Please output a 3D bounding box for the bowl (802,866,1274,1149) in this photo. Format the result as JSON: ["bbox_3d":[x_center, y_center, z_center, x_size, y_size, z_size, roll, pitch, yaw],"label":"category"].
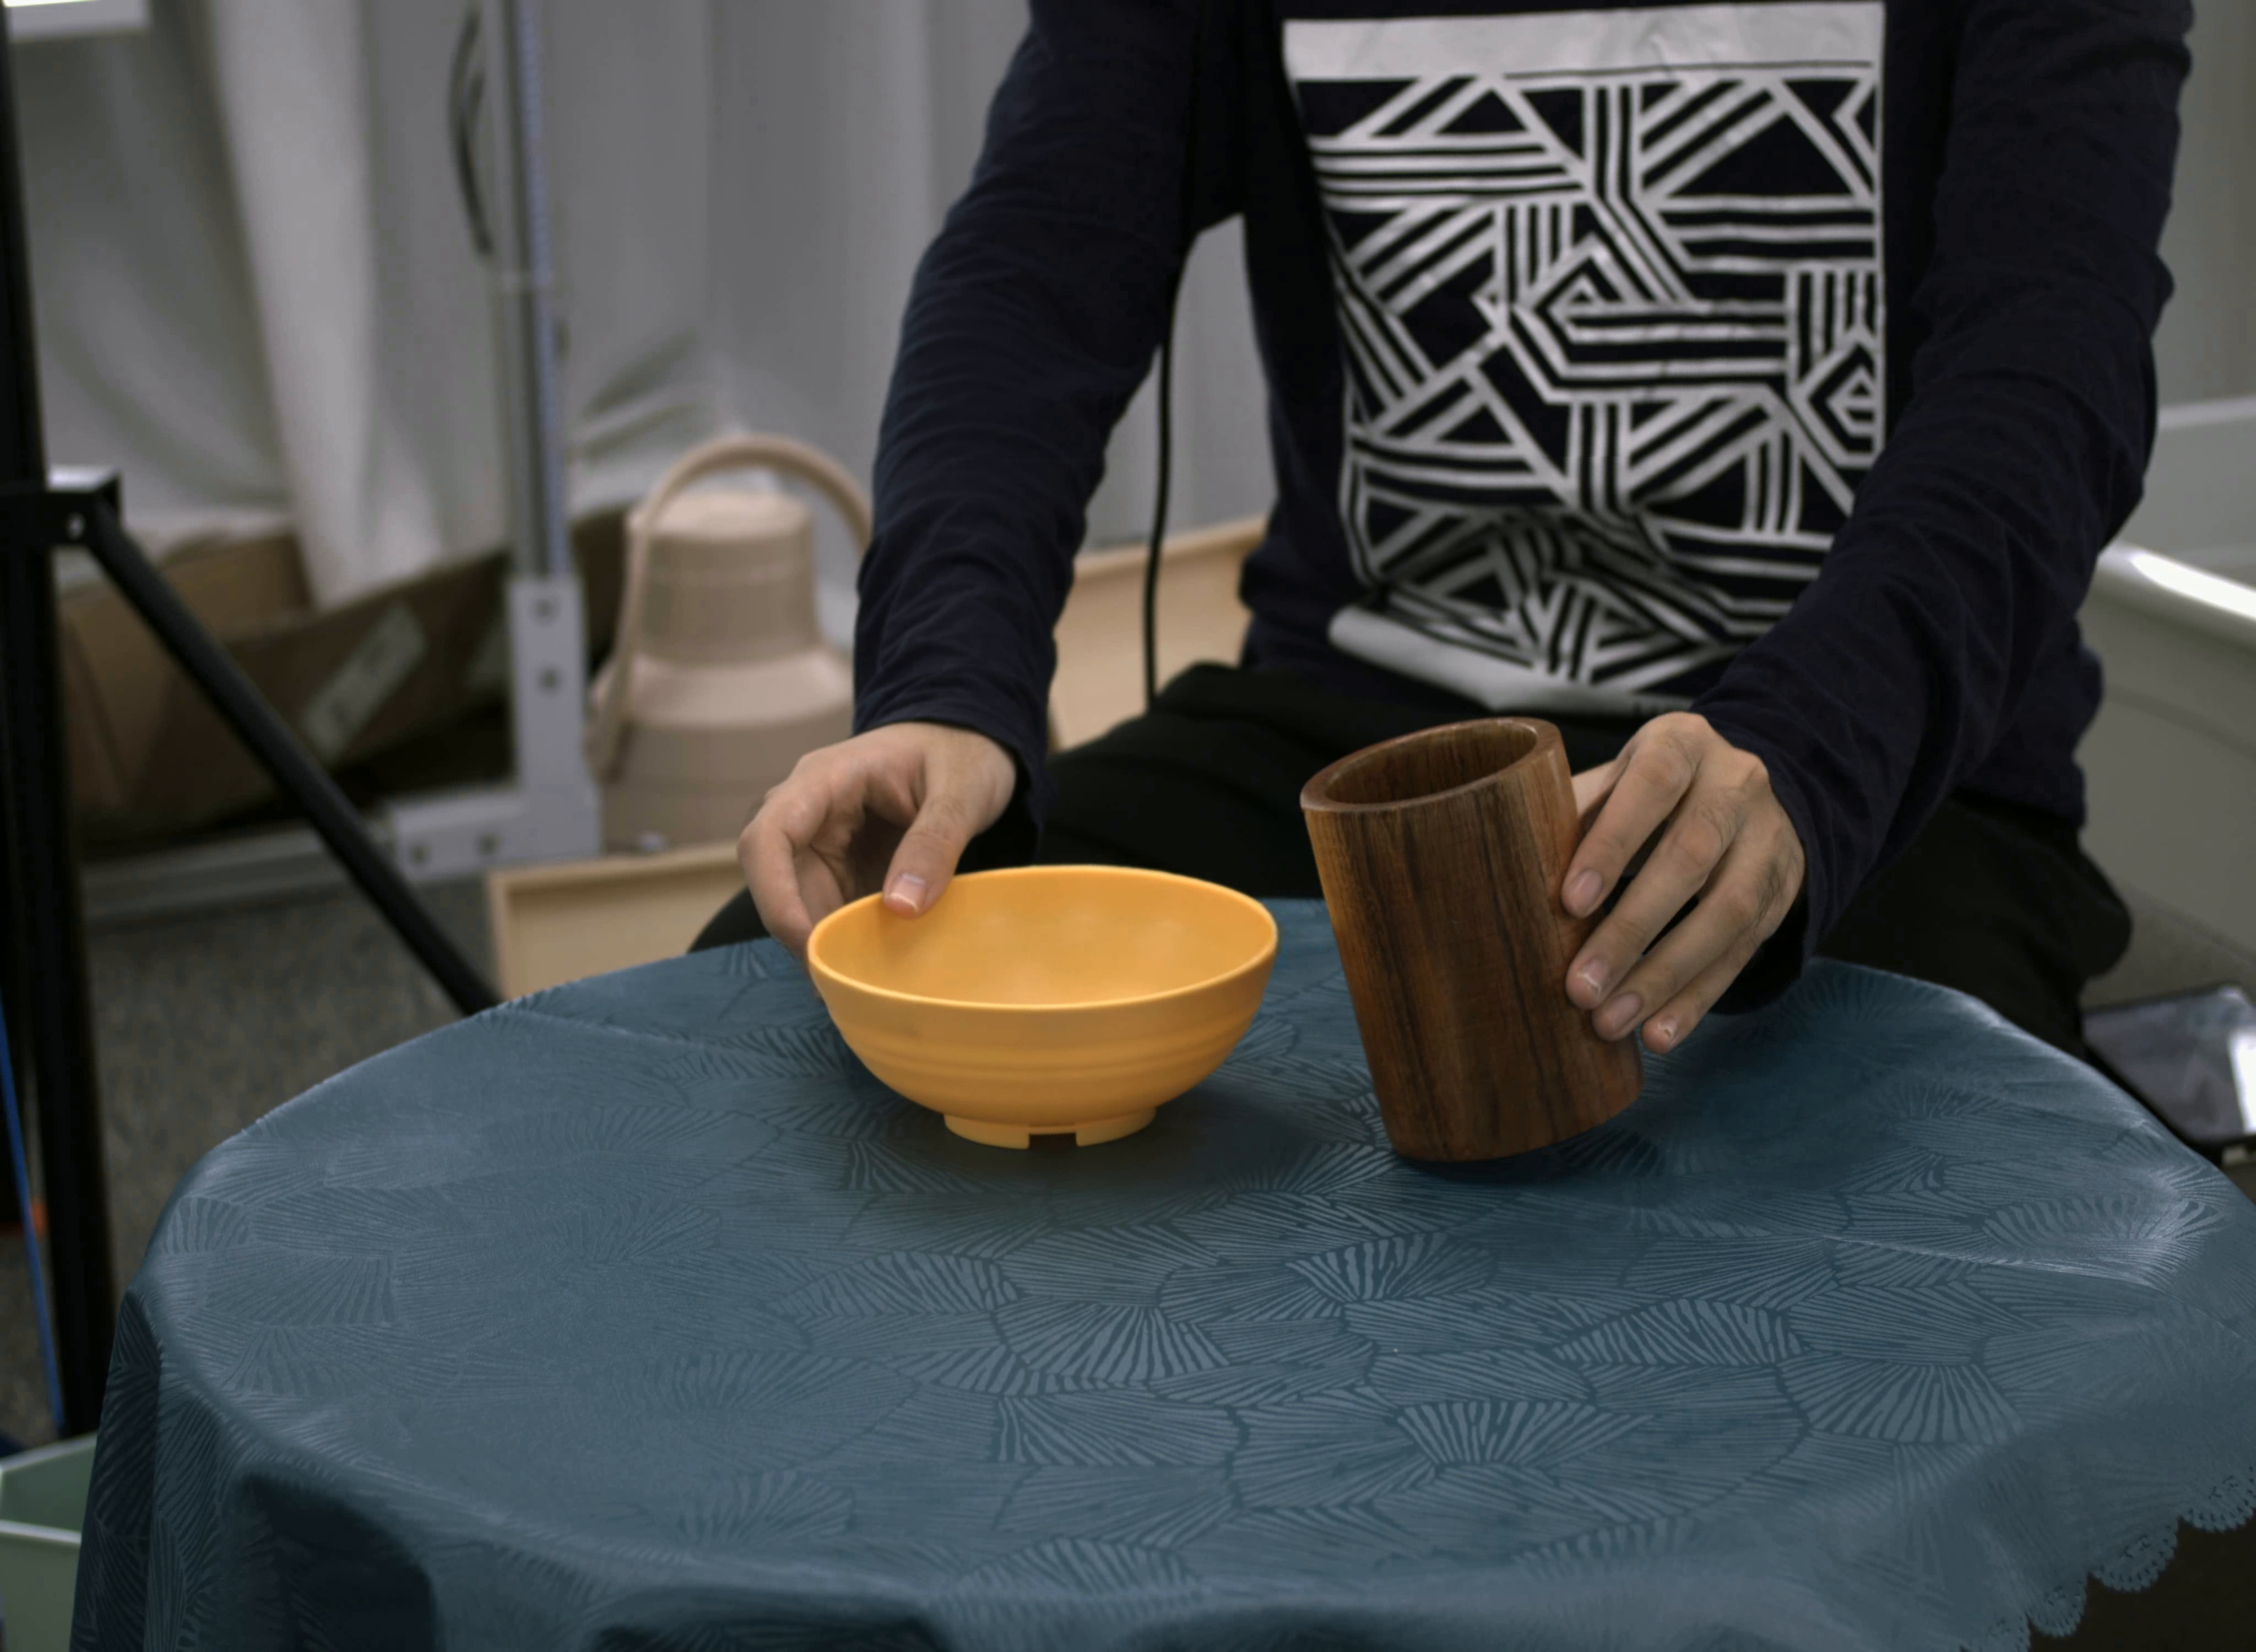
[{"bbox_3d":[-0.027,0.060,1.626,0.144,0.060,0.146,-1,15,-1],"label":"bowl"}]

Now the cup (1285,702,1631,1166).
[{"bbox_3d":[0.098,0.031,1.567,0.087,0.118,0.088,-12,14,2],"label":"cup"}]
